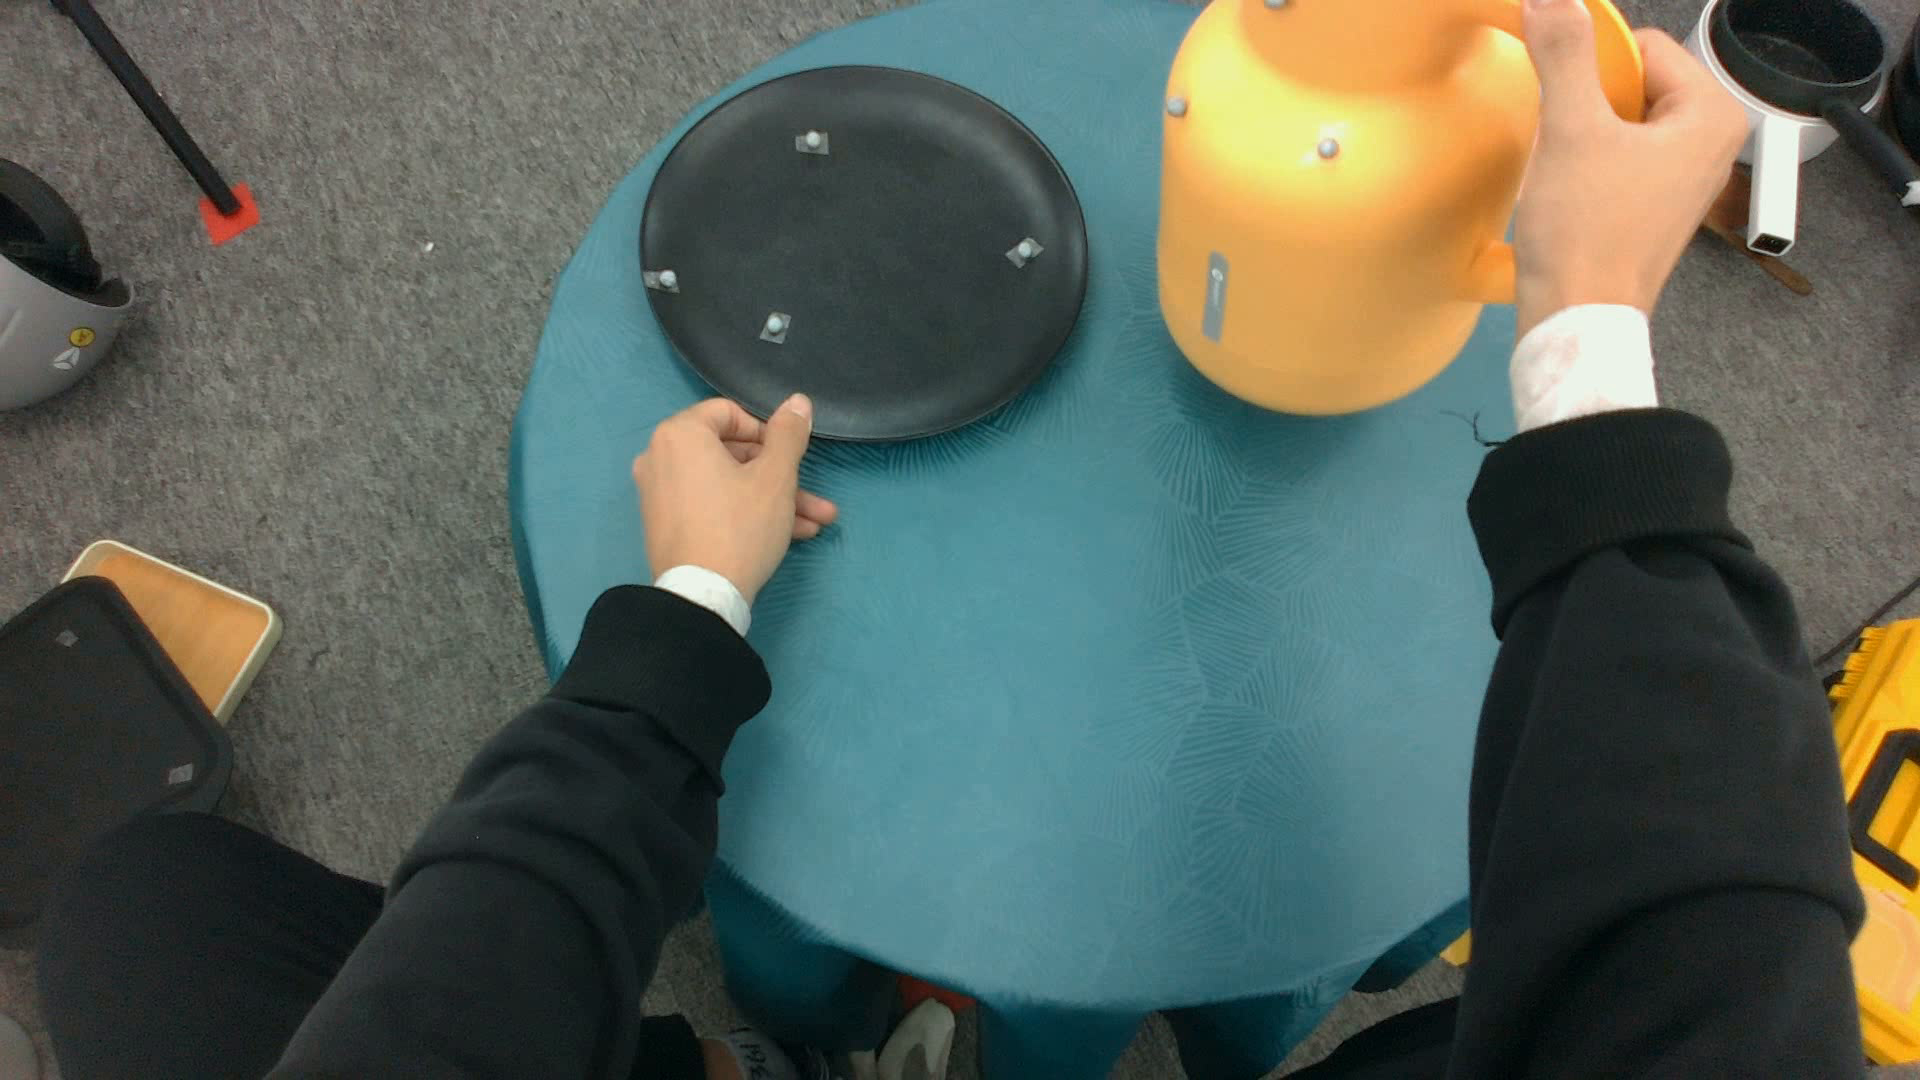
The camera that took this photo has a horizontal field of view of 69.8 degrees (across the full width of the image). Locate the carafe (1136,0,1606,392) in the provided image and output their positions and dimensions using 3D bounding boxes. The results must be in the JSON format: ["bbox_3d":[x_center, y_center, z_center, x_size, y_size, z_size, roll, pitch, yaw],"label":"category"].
[{"bbox_3d":[0.175,-0.182,0.621,0.164,0.259,0.202,-42,64,-14],"label":"carafe"}]

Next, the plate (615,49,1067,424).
[{"bbox_3d":[-0.063,-0.167,0.753,0.244,0.023,0.245,2,66,-4],"label":"plate"}]
